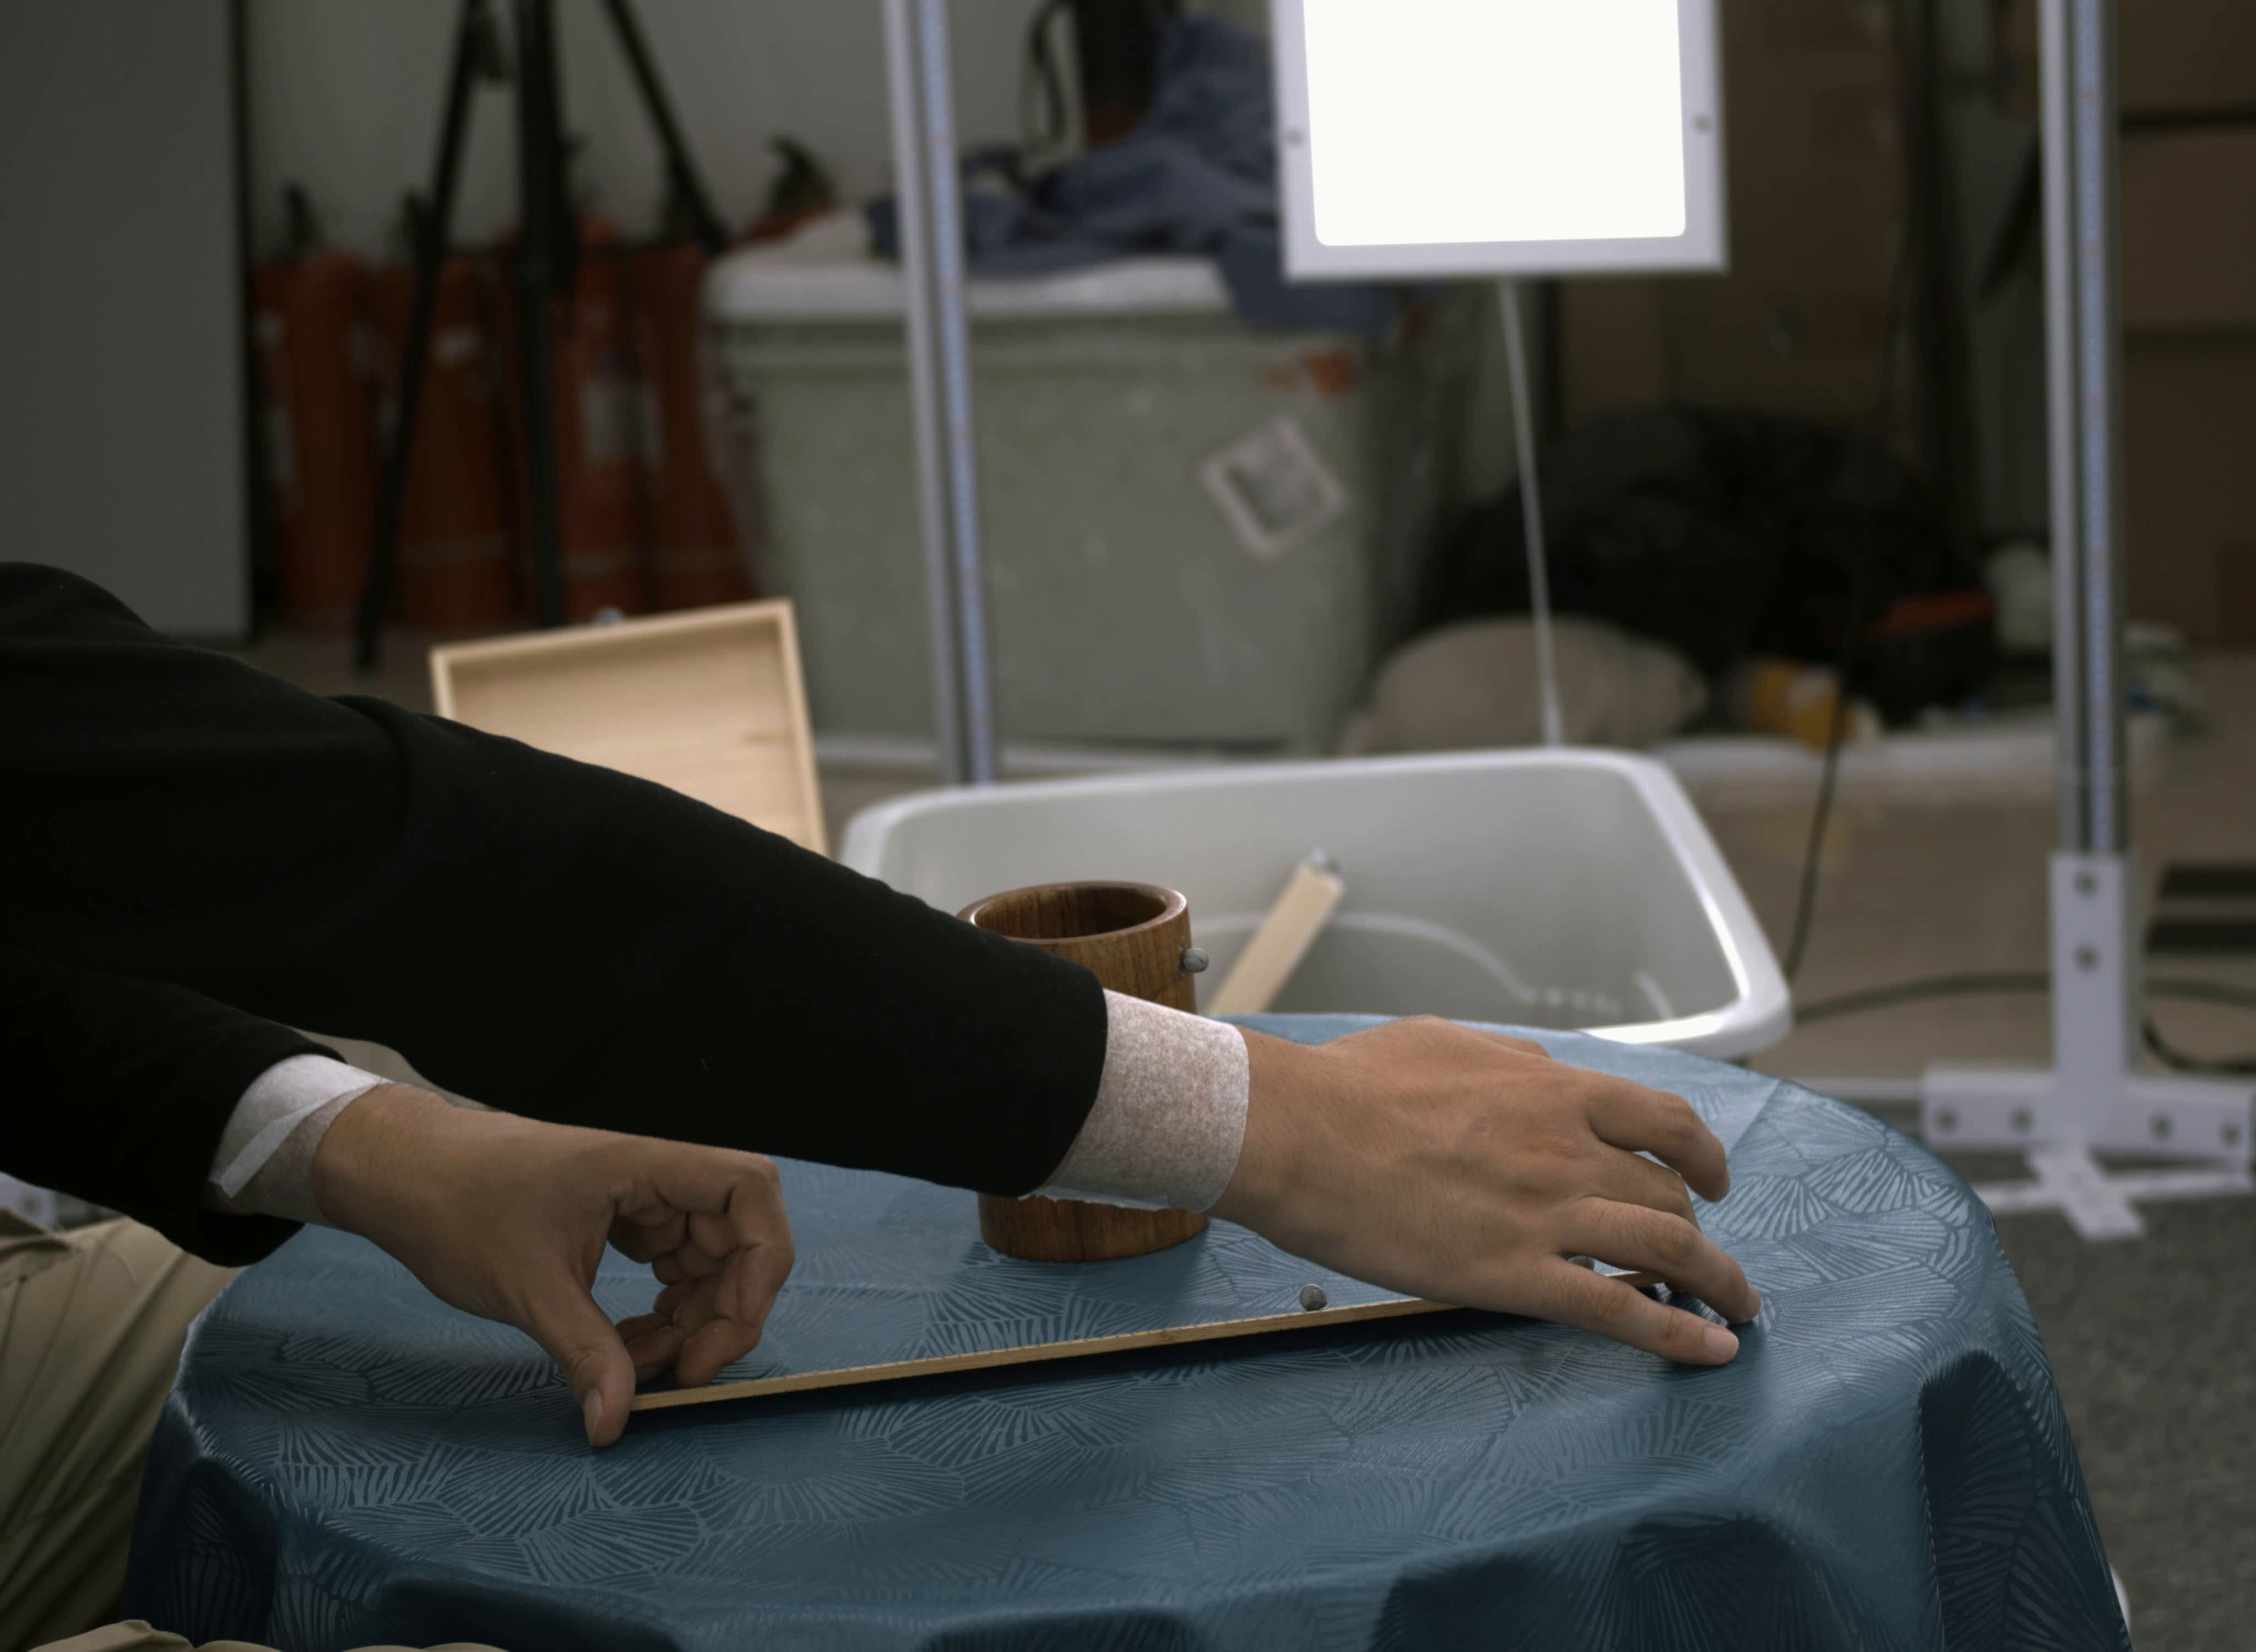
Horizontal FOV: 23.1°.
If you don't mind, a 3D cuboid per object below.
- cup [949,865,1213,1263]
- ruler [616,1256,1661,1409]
[{"bbox_3d":[-0.014,0.079,1.852,0.087,0.119,0.087,-5,13,0],"label":"cup"},{"bbox_3d":[0.004,0.159,1.732,0.330,0.022,0.027,-6,-9,-4],"label":"ruler"}]
